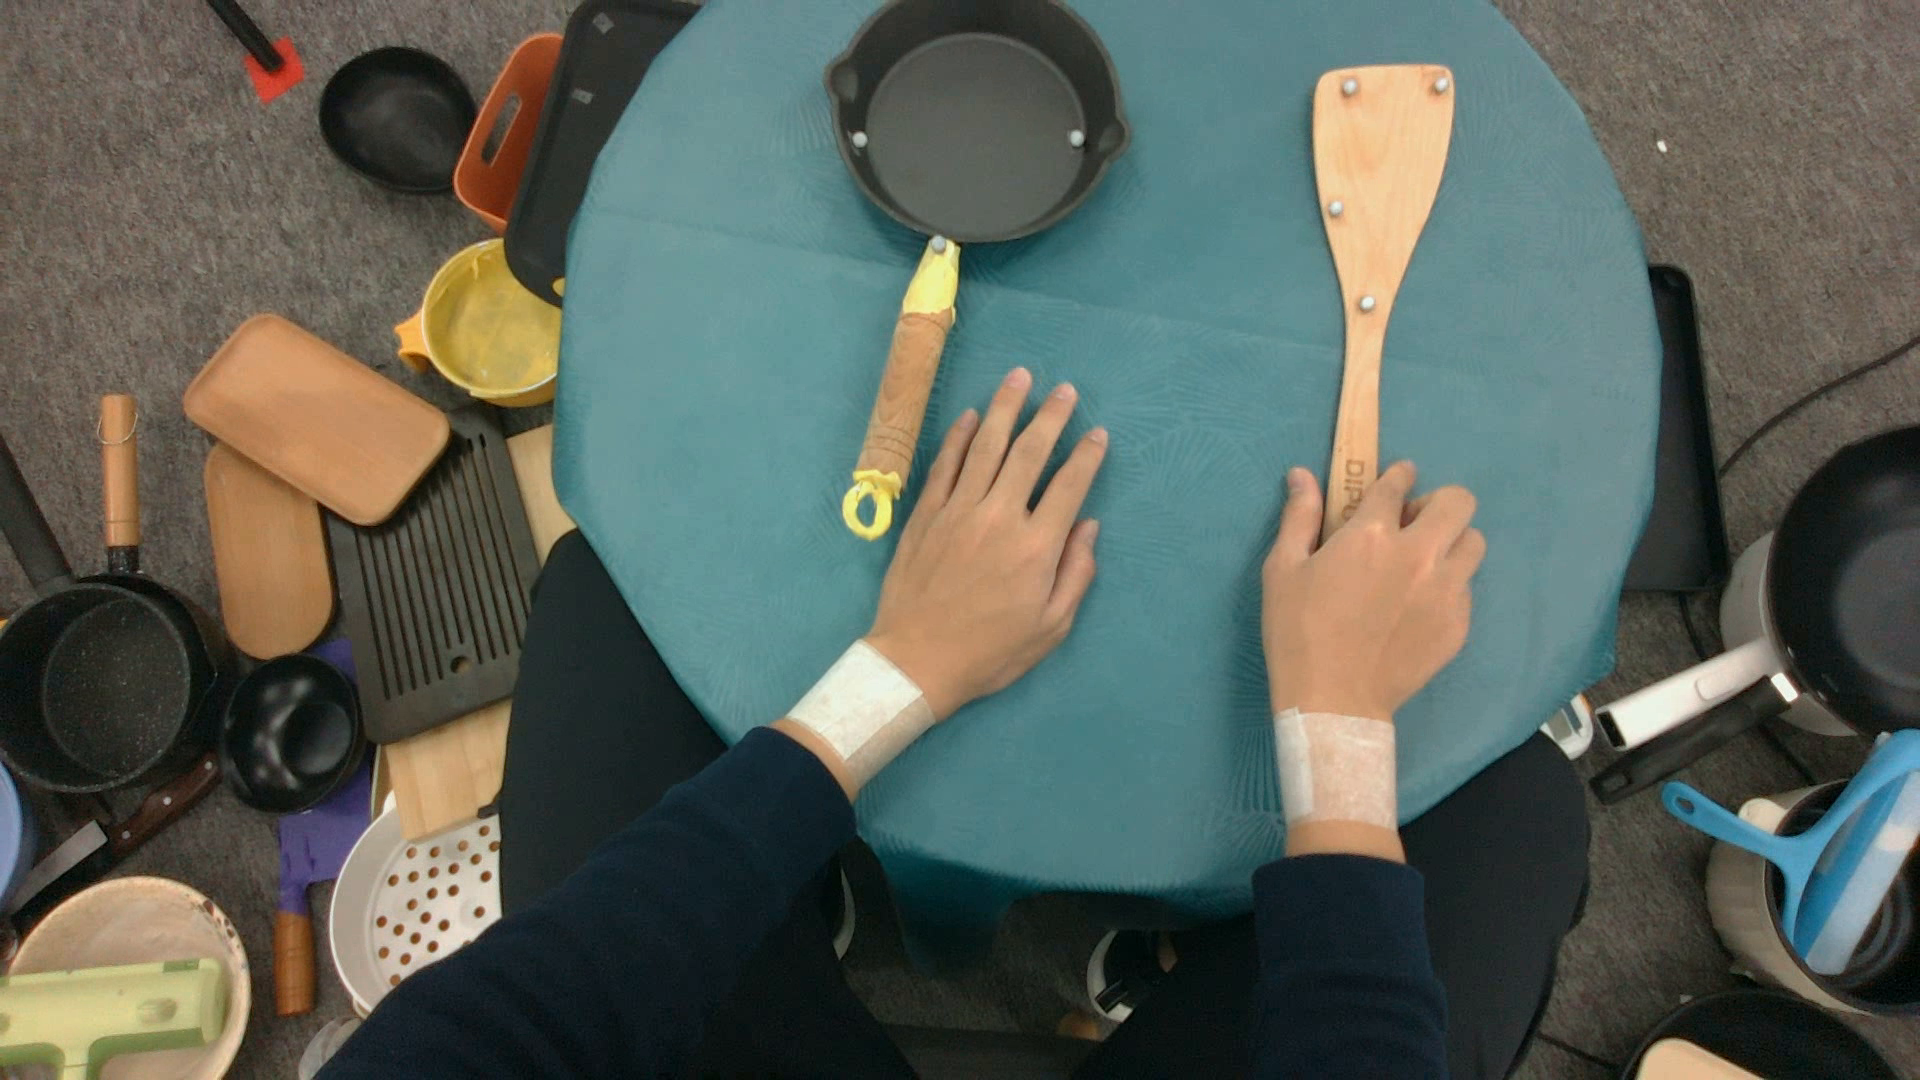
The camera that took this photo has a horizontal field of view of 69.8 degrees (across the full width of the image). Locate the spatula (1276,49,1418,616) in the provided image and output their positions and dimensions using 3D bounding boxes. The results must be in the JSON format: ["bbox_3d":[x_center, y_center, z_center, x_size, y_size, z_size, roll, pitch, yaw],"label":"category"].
[{"bbox_3d":[0.205,-0.120,0.747,0.080,0.016,0.328,6,76,1],"label":"spatula"}]

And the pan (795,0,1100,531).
[{"bbox_3d":[-0.026,-0.156,0.732,0.169,0.049,0.325,13,75,2],"label":"pan"}]
